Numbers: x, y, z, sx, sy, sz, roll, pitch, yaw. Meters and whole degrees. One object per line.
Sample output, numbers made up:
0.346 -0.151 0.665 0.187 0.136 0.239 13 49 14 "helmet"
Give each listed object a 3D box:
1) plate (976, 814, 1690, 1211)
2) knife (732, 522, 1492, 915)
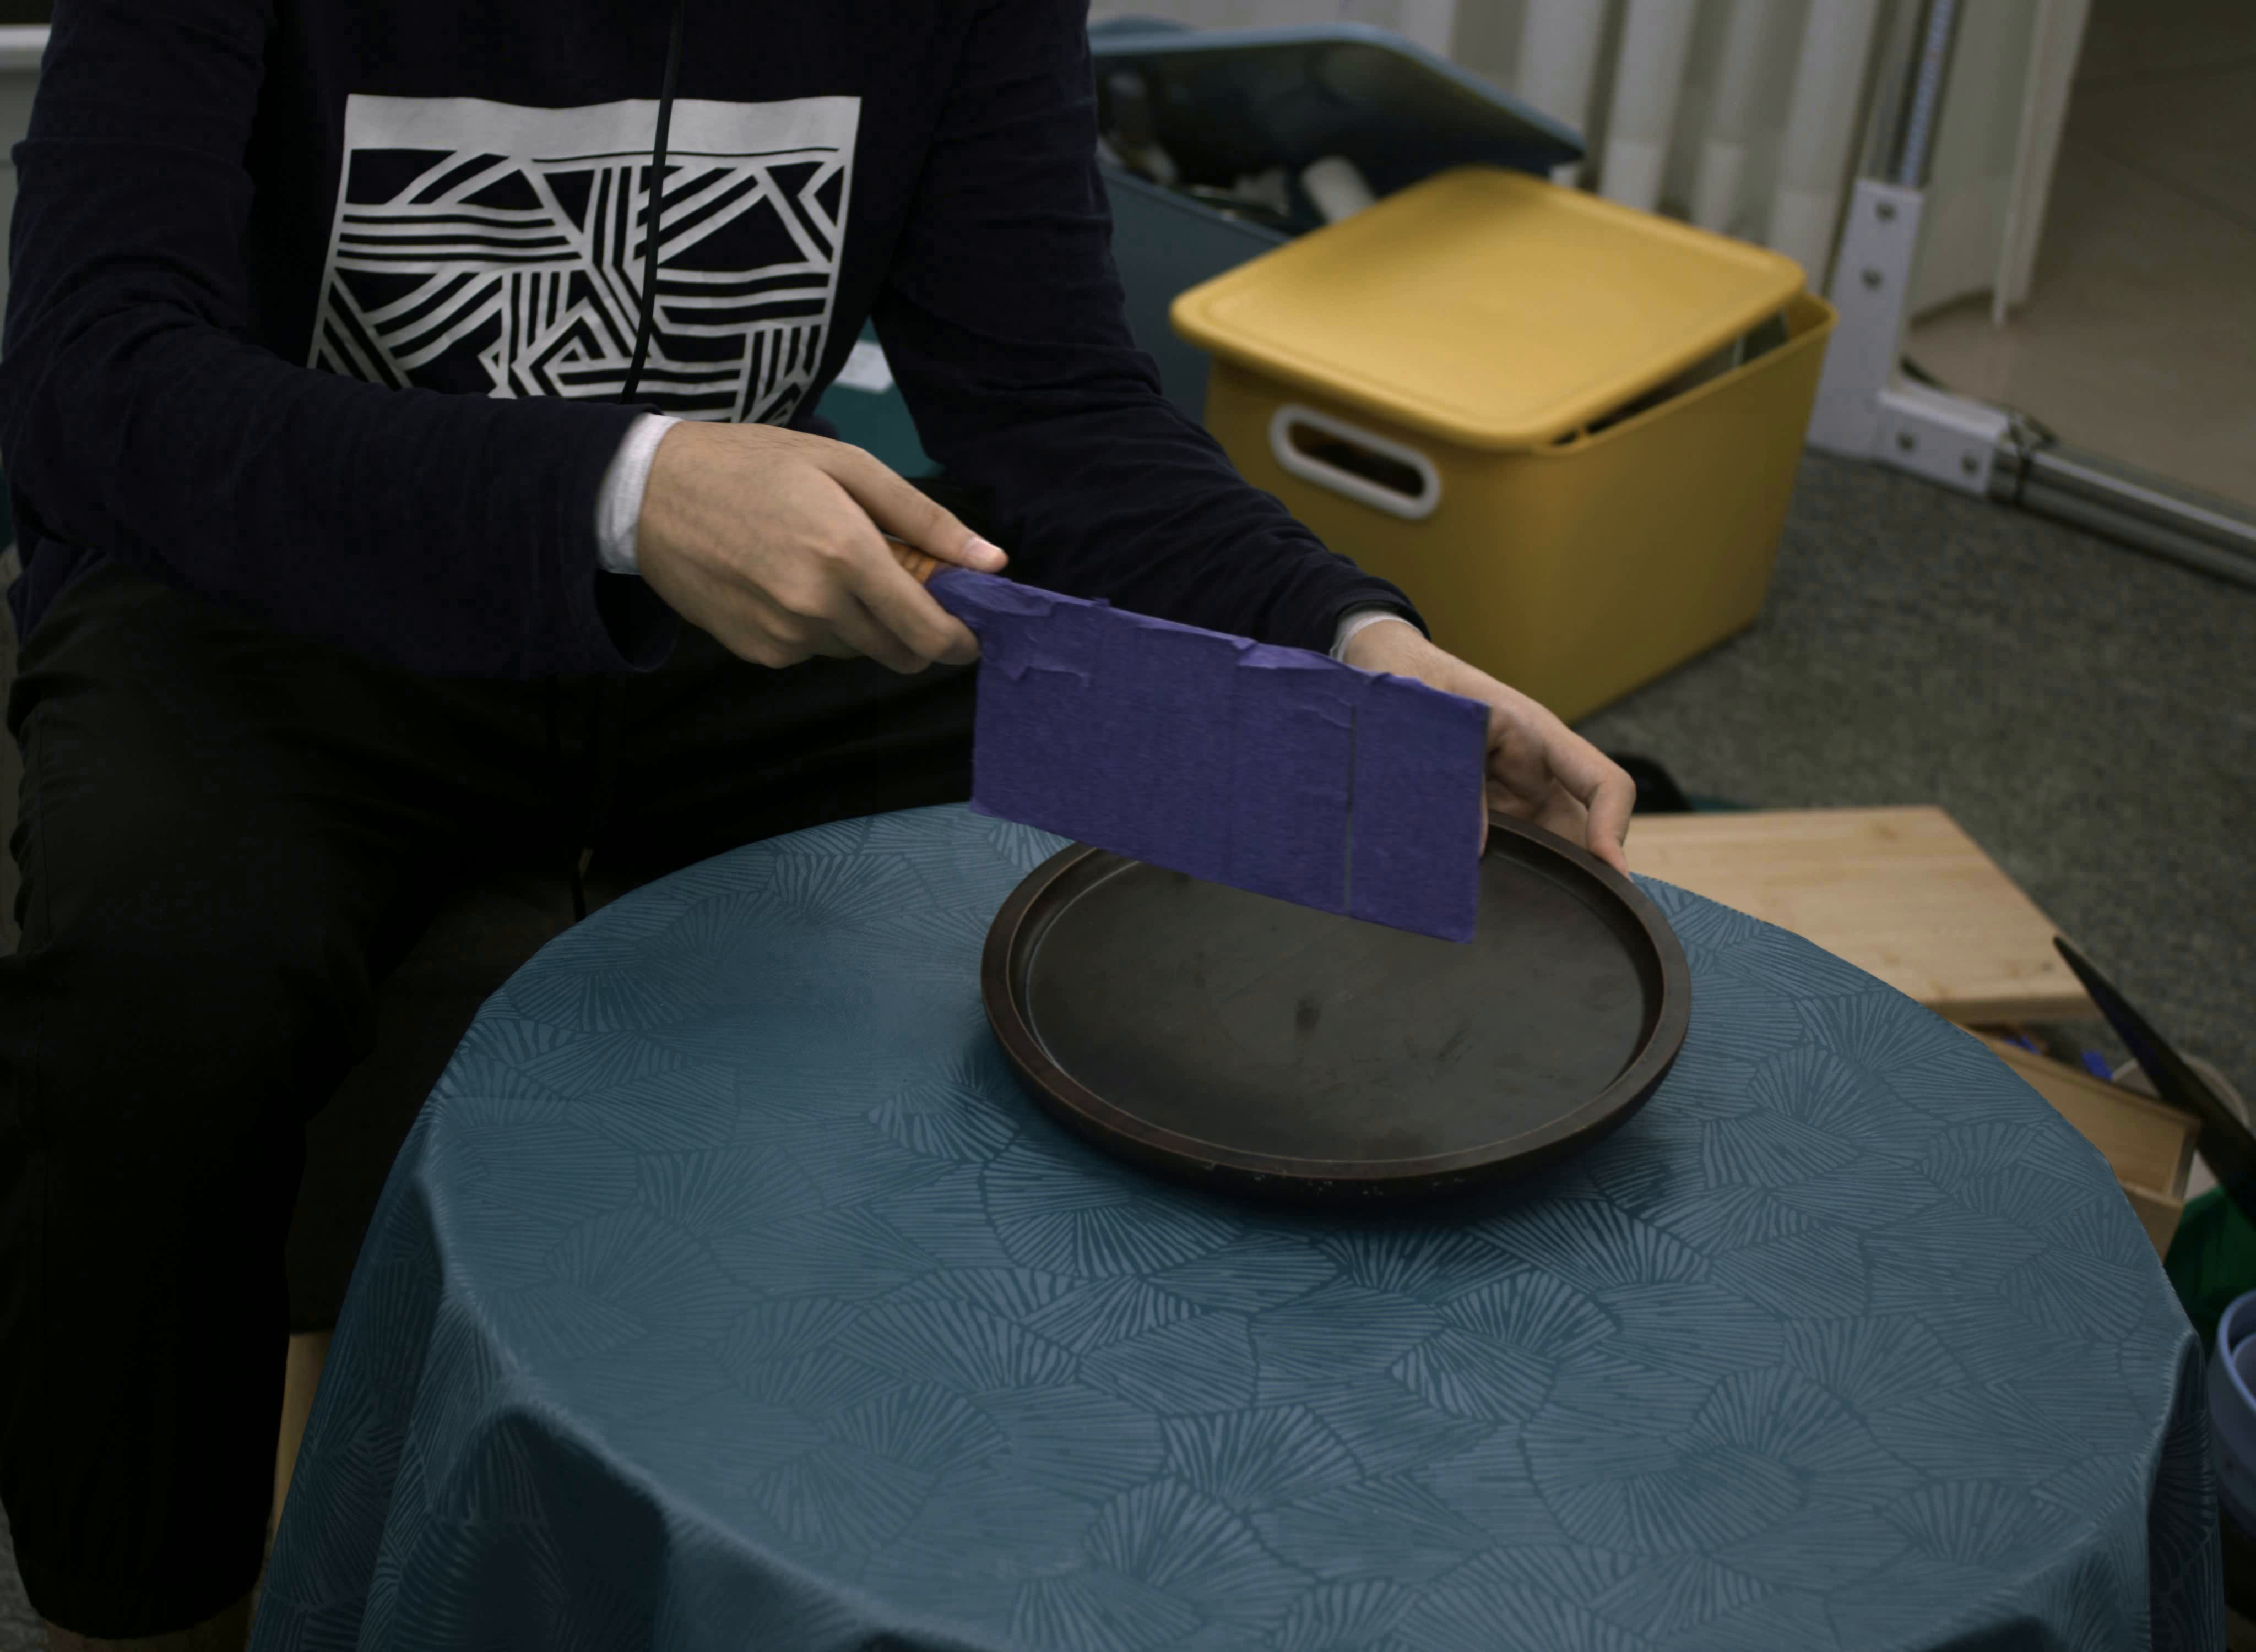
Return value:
0.072 0.060 1.891 0.254 0.029 0.256 0 33 0 "plate"
-0.011 -0.036 1.876 0.317 0.104 0.032 15 21 33 "knife"
